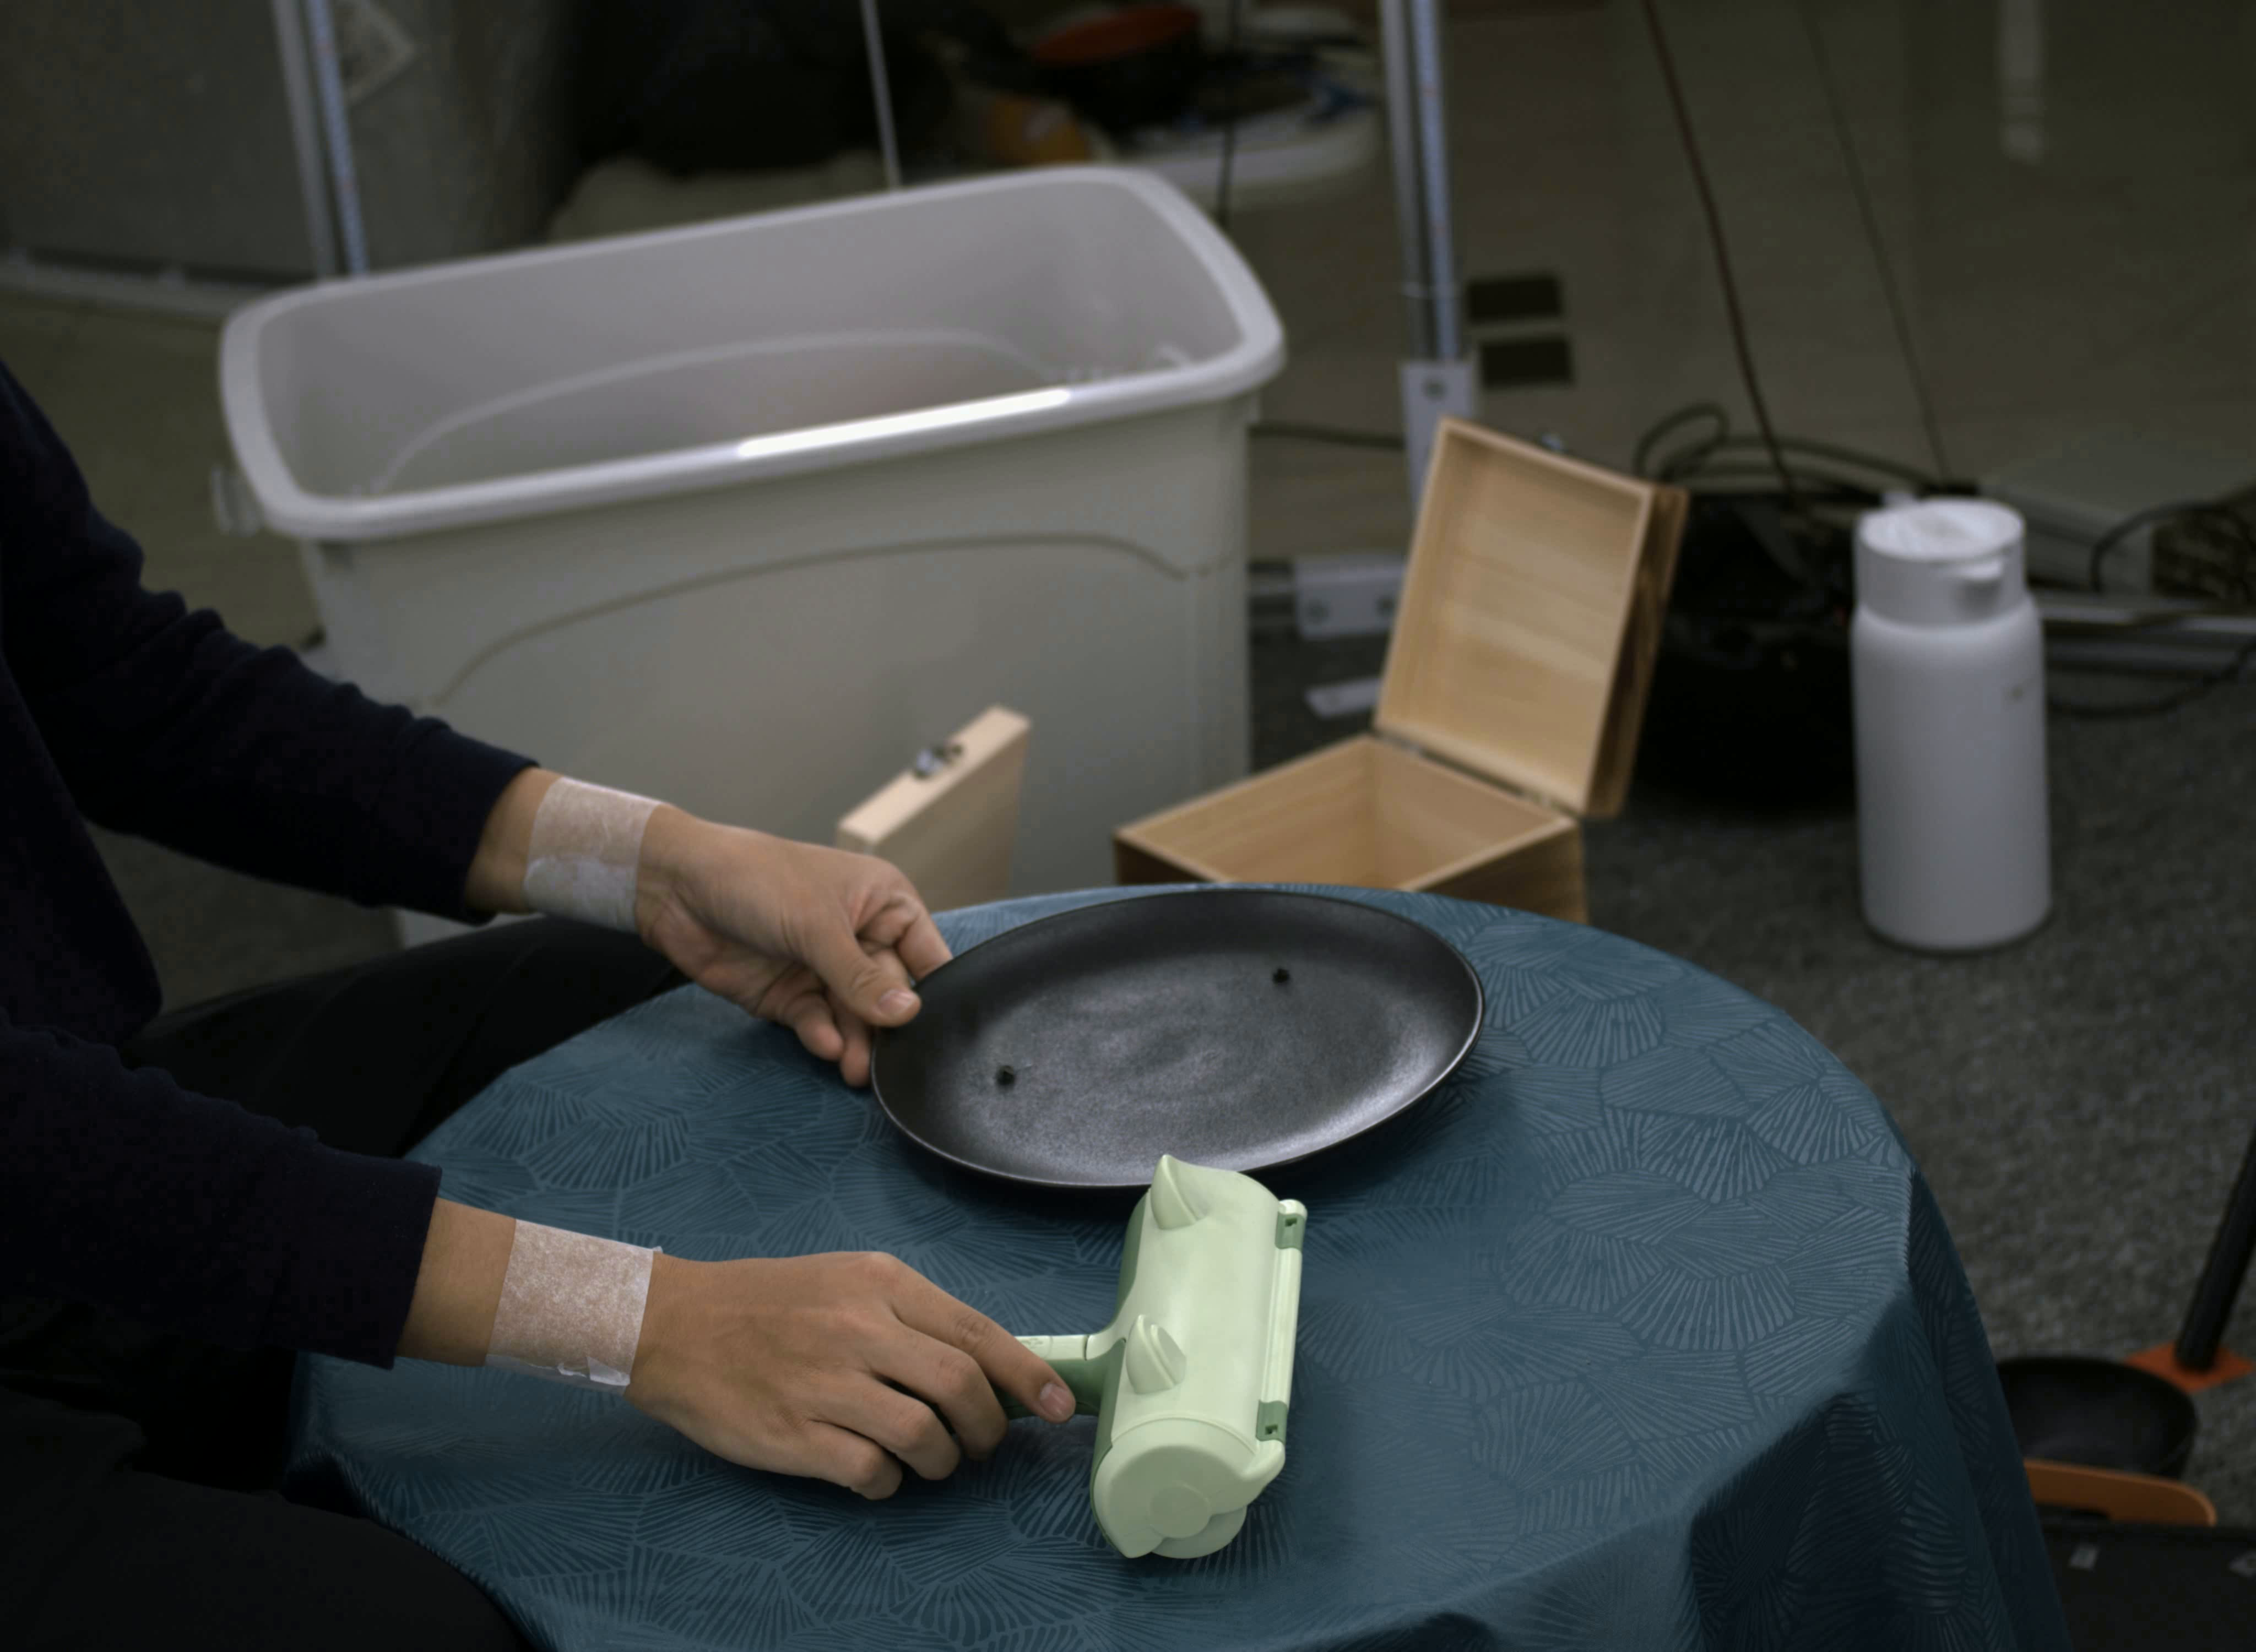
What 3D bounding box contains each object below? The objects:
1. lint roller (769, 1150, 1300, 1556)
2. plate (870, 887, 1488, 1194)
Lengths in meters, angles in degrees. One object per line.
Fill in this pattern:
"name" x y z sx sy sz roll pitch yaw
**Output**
"lint roller" -0.034 0.175 1.975 0.183 0.083 0.196 2 25 3
"plate" 0.021 0.088 2.216 0.244 0.024 0.240 -6 26 3
